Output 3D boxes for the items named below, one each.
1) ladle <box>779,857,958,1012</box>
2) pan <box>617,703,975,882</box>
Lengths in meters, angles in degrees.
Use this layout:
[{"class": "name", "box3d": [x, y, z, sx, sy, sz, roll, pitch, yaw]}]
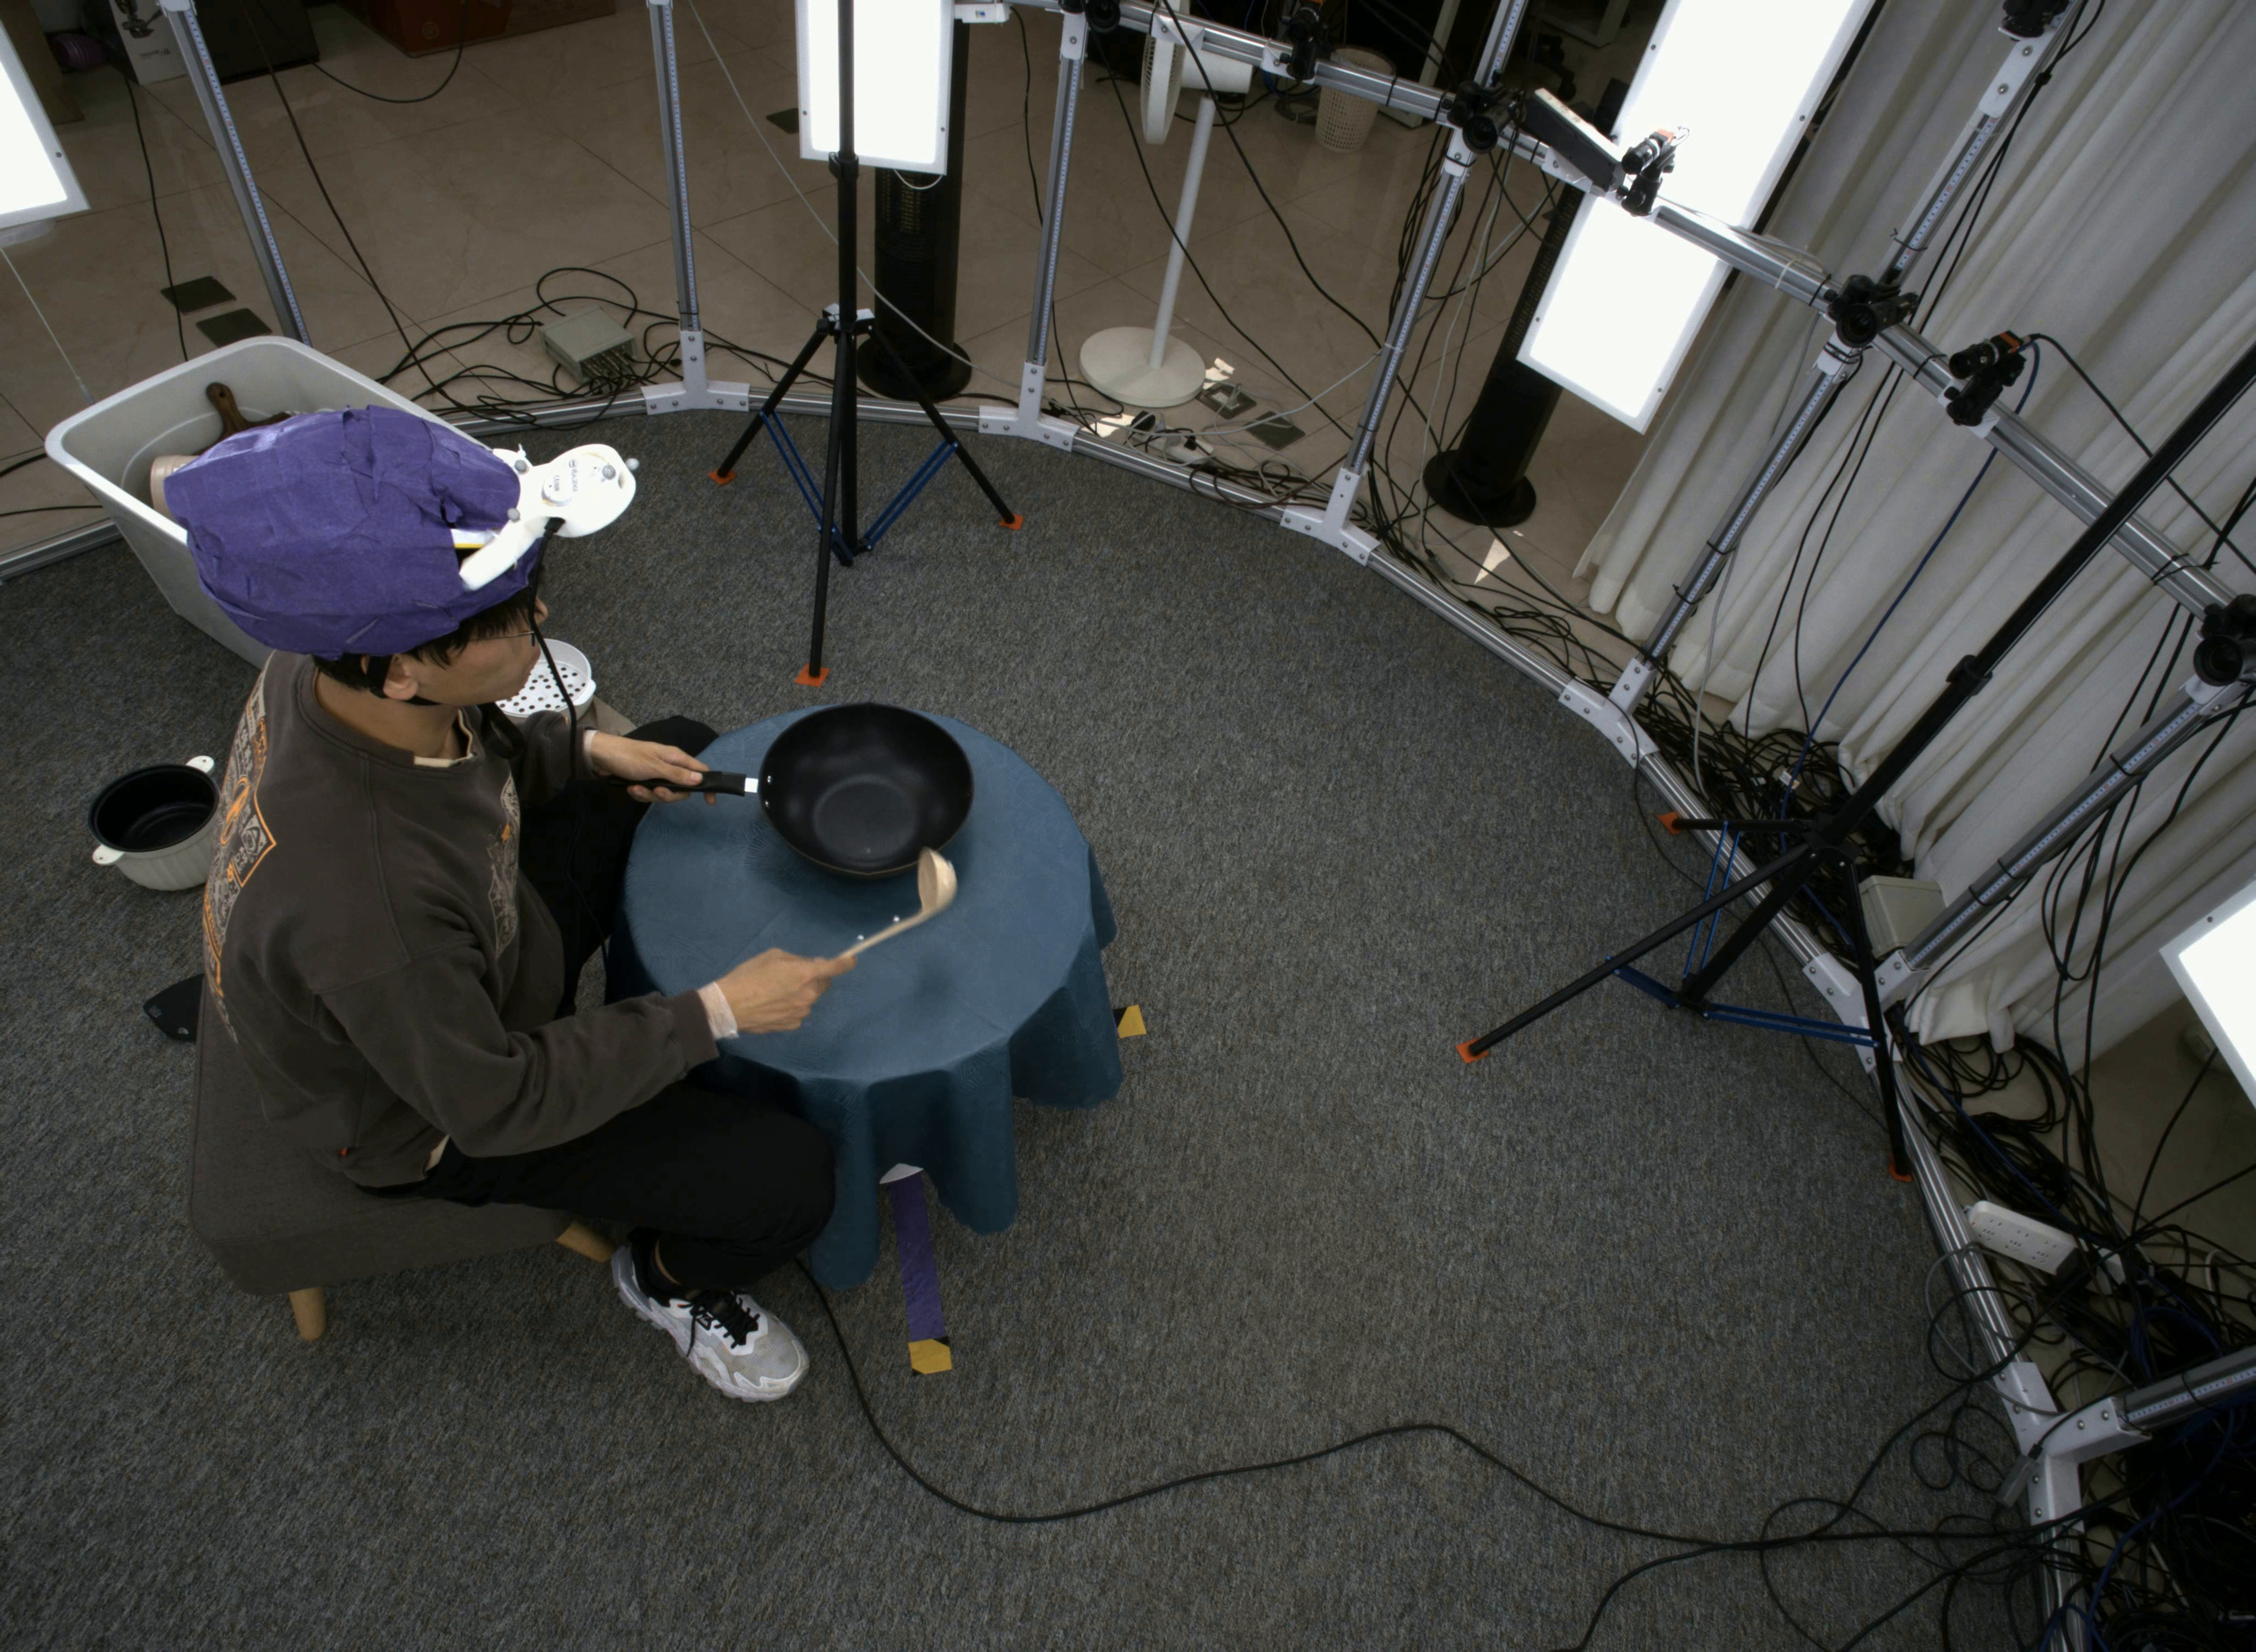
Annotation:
[{"class": "ladle", "box3d": [-0.314, 0.120, 1.526, 0.255, 0.070, 0.075, -30, 110, -28]}, {"class": "pan", "box3d": [-0.433, -0.033, 1.707, 0.463, 0.088, 0.282, 1, 54, -12]}]
